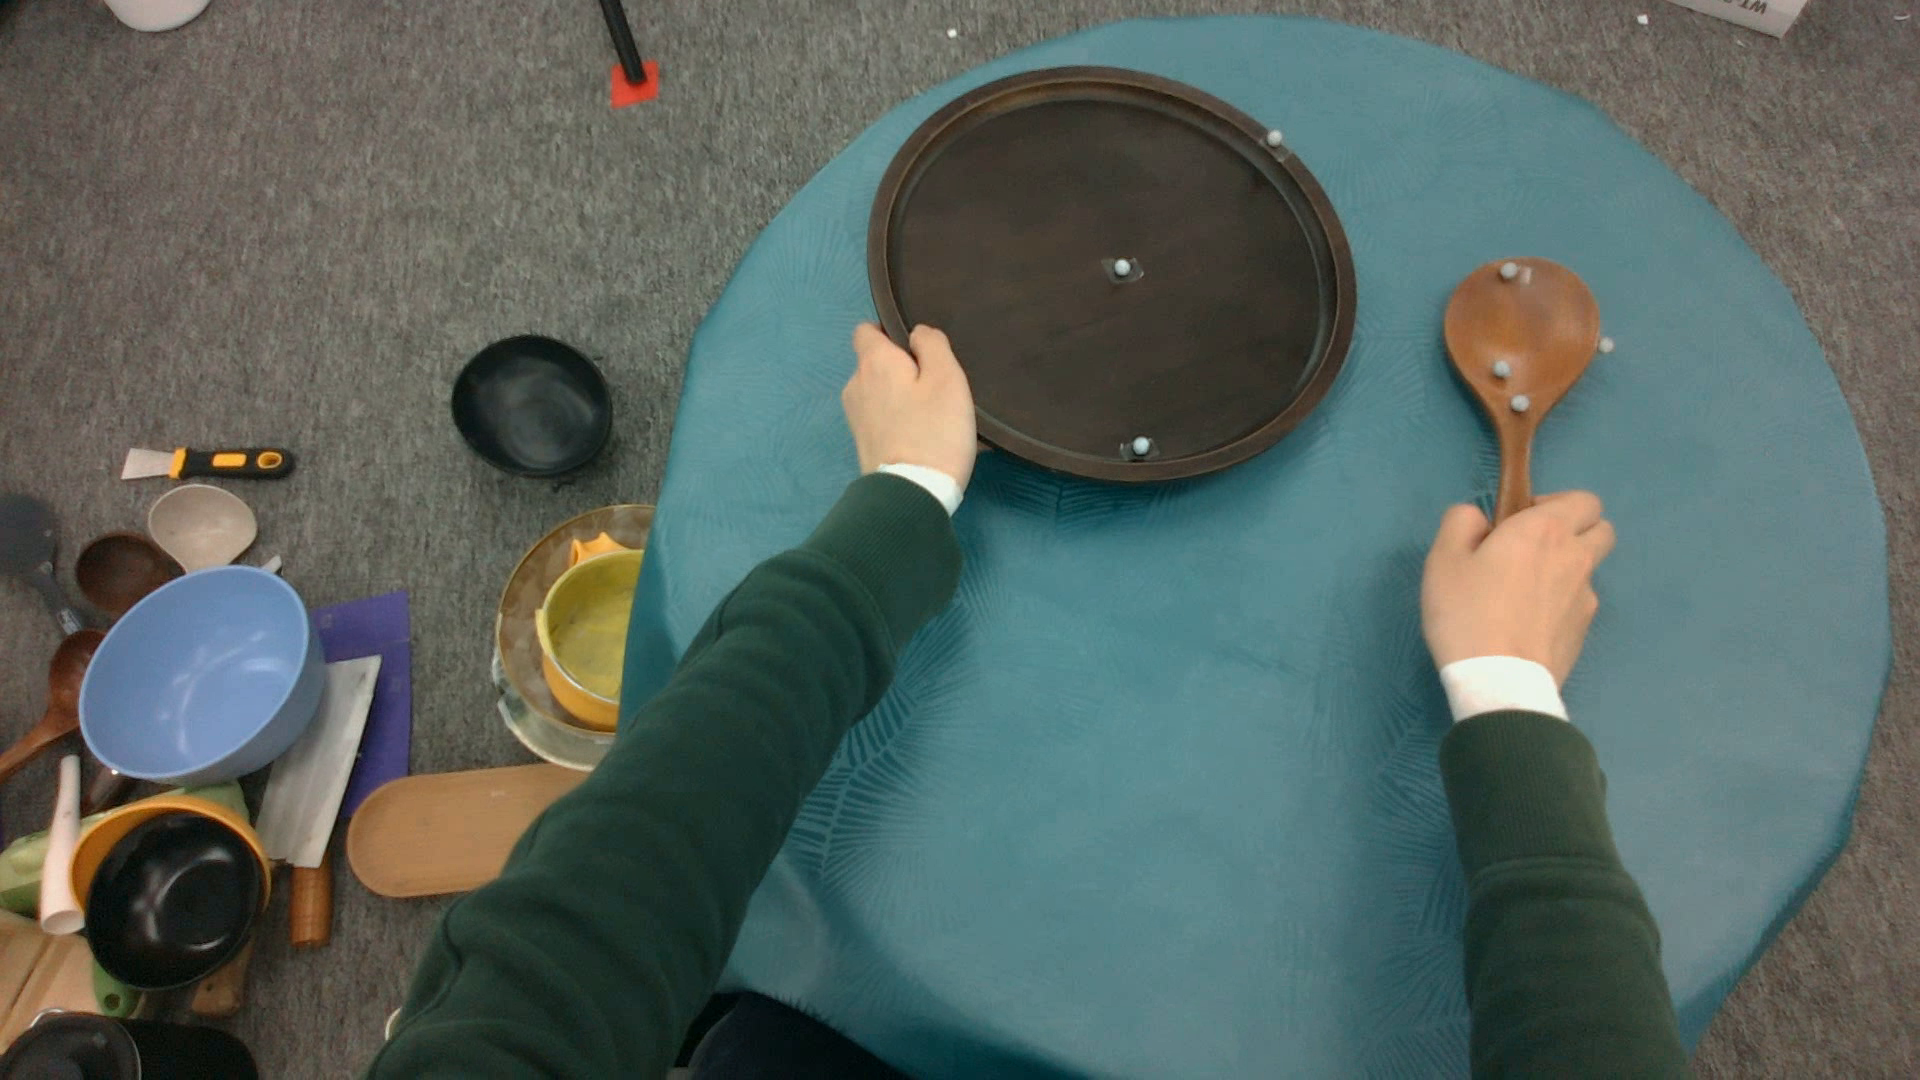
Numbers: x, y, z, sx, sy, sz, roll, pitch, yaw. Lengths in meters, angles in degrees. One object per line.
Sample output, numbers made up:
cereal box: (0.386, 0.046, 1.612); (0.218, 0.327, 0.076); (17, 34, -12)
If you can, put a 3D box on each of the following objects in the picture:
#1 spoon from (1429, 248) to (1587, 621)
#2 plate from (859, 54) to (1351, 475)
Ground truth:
spoon: (0.266, -0.057, 0.670); (0.075, 0.017, 0.217); (3, 59, 16)
plate: (0.075, -0.145, 0.706); (0.255, 0.029, 0.255); (3, 65, -6)
